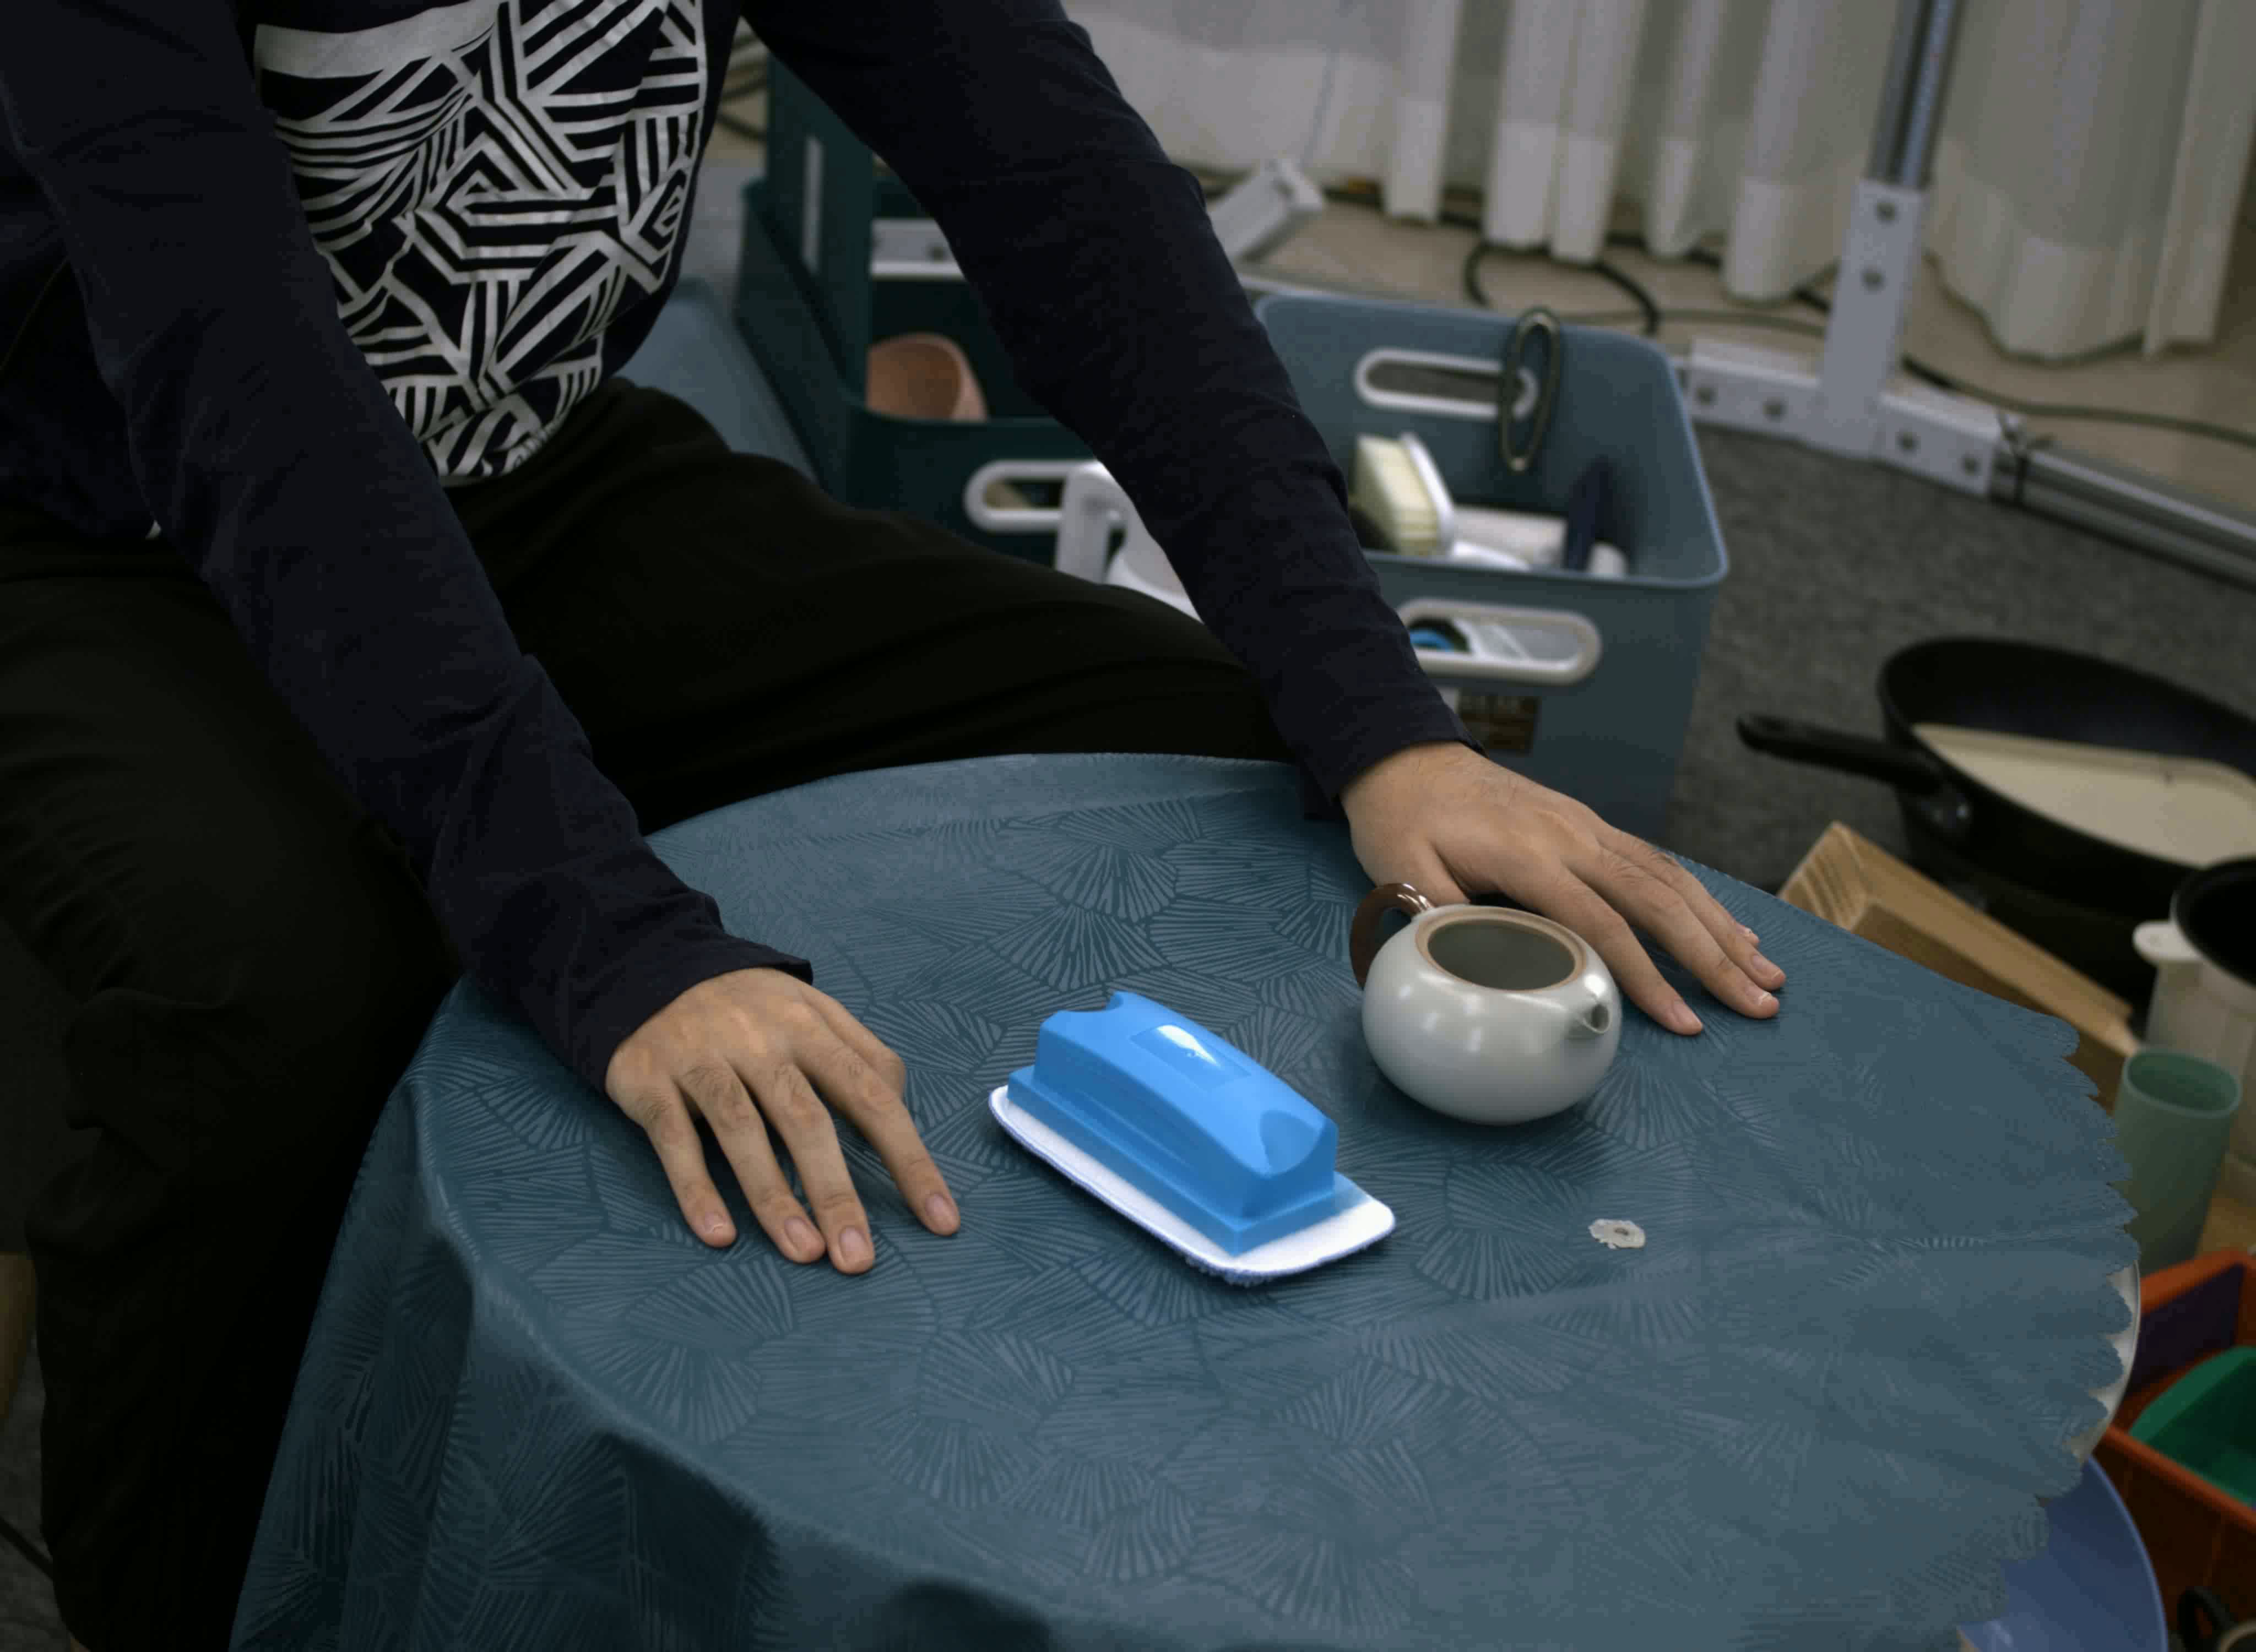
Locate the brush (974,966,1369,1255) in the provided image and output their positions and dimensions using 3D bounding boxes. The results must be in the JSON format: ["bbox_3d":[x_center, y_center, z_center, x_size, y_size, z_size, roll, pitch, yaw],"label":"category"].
[{"bbox_3d":[0.017,0.092,1.805,0.083,0.056,0.145,-12,34,-37],"label":"brush"}]

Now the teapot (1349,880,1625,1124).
[{"bbox_3d":[0.124,0.062,1.888,0.091,0.059,0.129,-20,38,-37],"label":"teapot"}]
